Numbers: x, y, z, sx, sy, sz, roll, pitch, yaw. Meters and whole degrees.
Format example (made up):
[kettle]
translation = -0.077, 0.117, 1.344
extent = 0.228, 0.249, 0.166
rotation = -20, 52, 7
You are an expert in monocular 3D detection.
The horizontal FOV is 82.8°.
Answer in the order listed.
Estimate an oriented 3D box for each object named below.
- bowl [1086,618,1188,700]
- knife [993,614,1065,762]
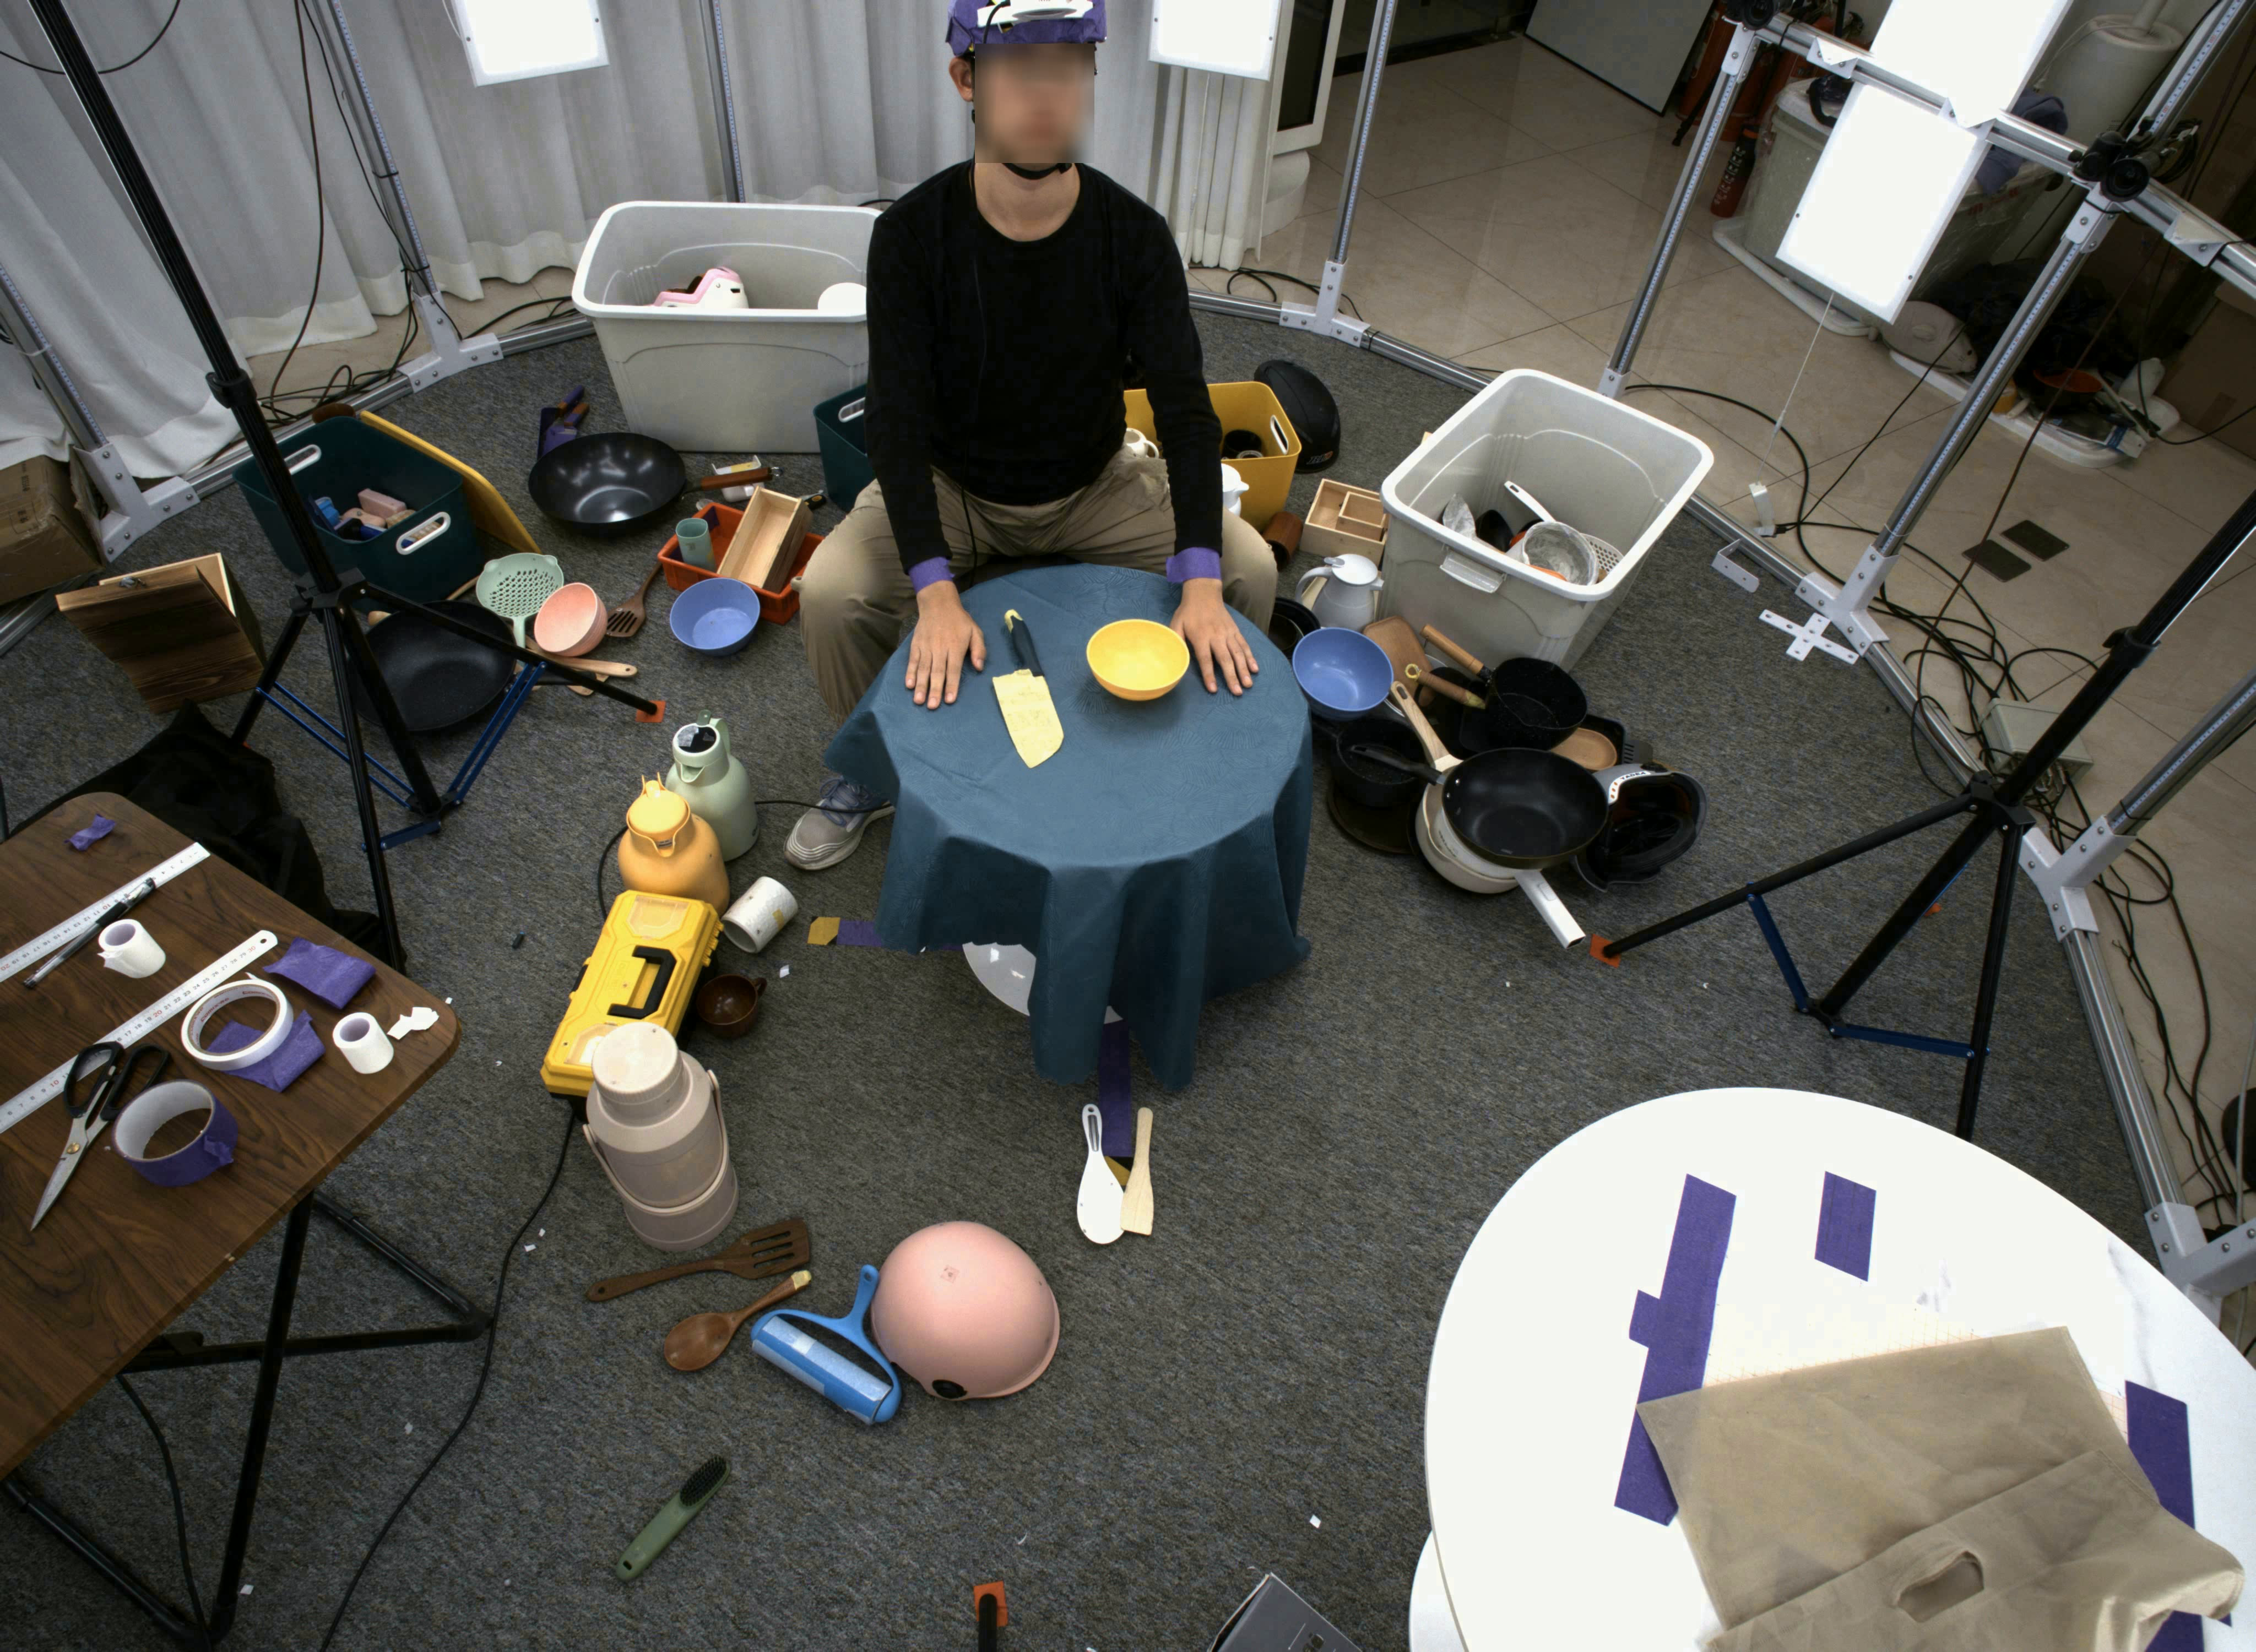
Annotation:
[bowl]
translation = 0.010, -0.226, 1.828
extent = 0.145, 0.059, 0.149
rotation = 3, 49, -4
[knife]
translation = -0.149, -0.198, 1.823
extent = 0.081, 0.026, 0.297
rotation = -8, 51, -12
